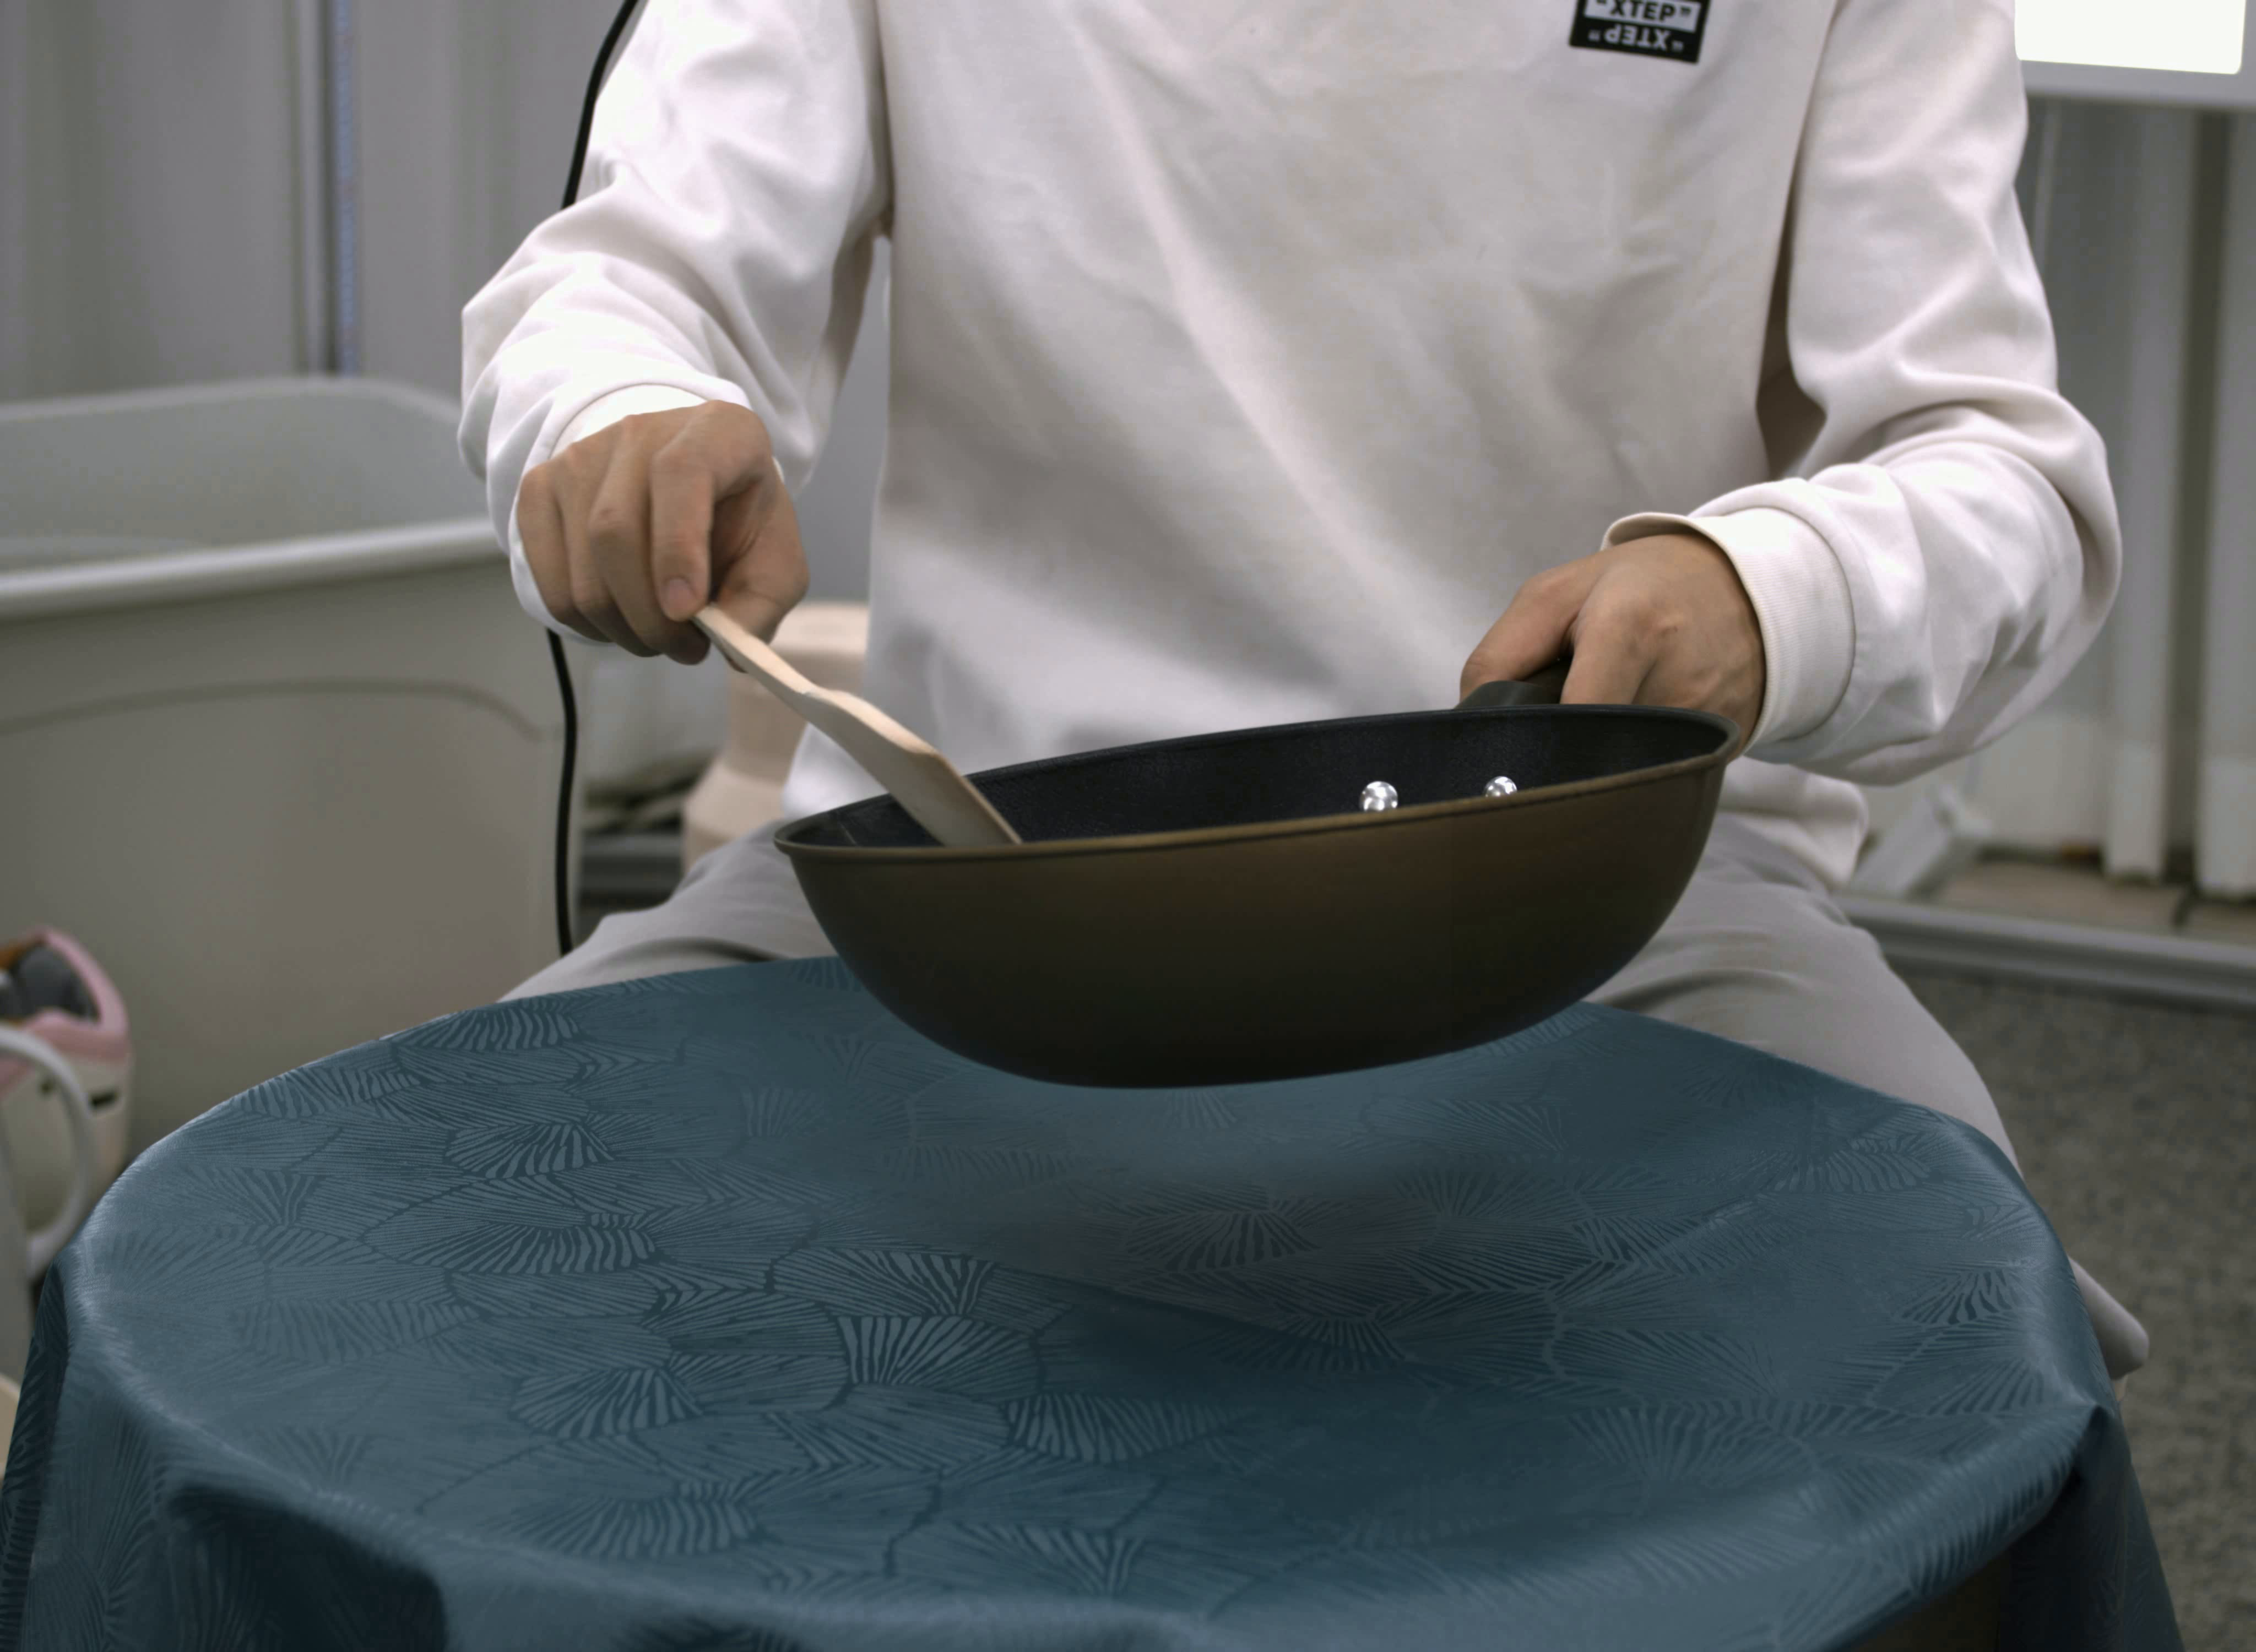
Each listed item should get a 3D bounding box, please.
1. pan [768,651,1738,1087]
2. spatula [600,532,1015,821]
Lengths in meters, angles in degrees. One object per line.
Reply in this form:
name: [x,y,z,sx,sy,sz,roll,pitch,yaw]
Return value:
pan: [0.081,0.010,1.610,0.285,0.087,0.465,-3,7,27]
spatula: [-0.099,-0.042,1.580,0.010,0.073,0.289,-44,33,-8]
